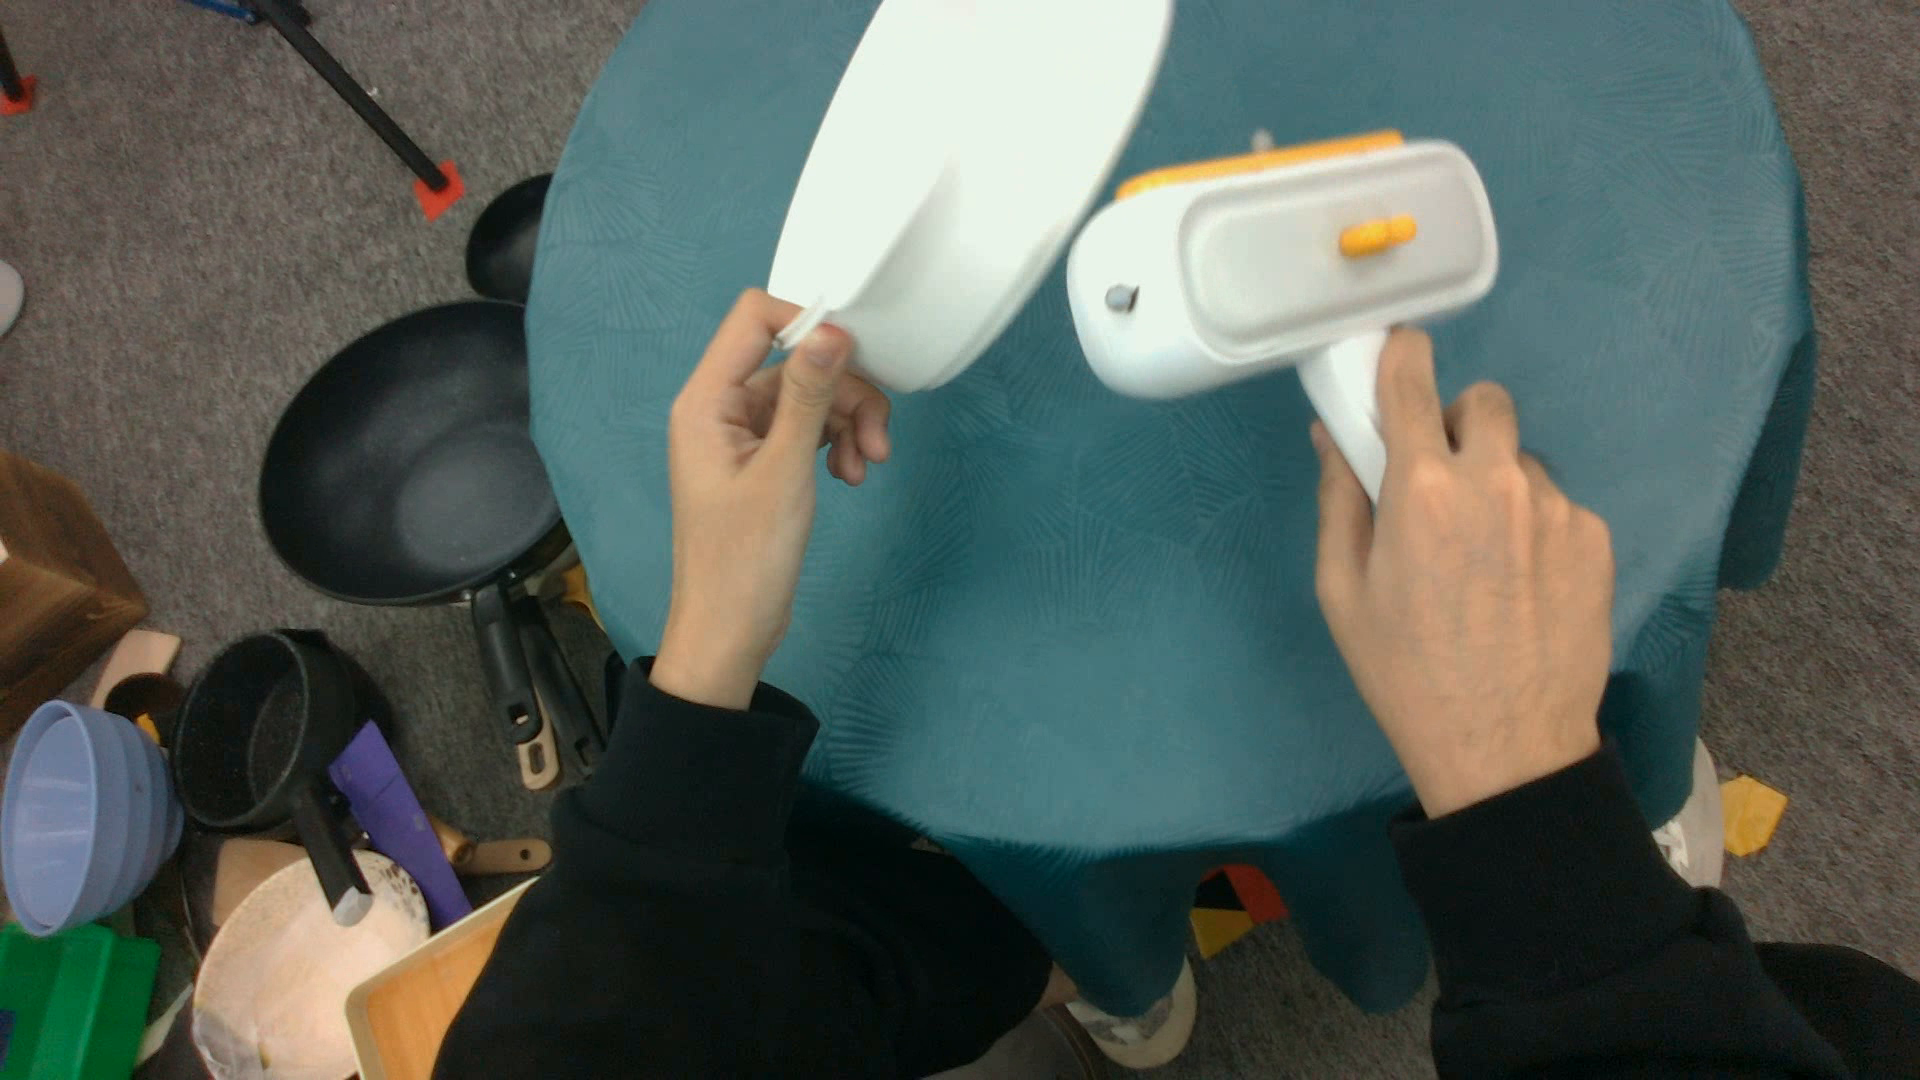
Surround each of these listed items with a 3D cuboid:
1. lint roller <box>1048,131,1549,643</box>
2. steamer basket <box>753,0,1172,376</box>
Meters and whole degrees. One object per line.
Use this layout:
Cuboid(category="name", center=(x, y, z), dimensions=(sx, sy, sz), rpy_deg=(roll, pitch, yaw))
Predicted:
Cuboid(category="lint roller", center=(0.140, -0.049, 0.486), dimensions=(0.193, 0.074, 0.192), rpy_deg=(-22, 87, -40))
Cuboid(category="steamer basket", center=(-0.004, -0.161, 0.534), dimensions=(0.201, 0.069, 0.231), rpy_deg=(-48, 33, 32))
